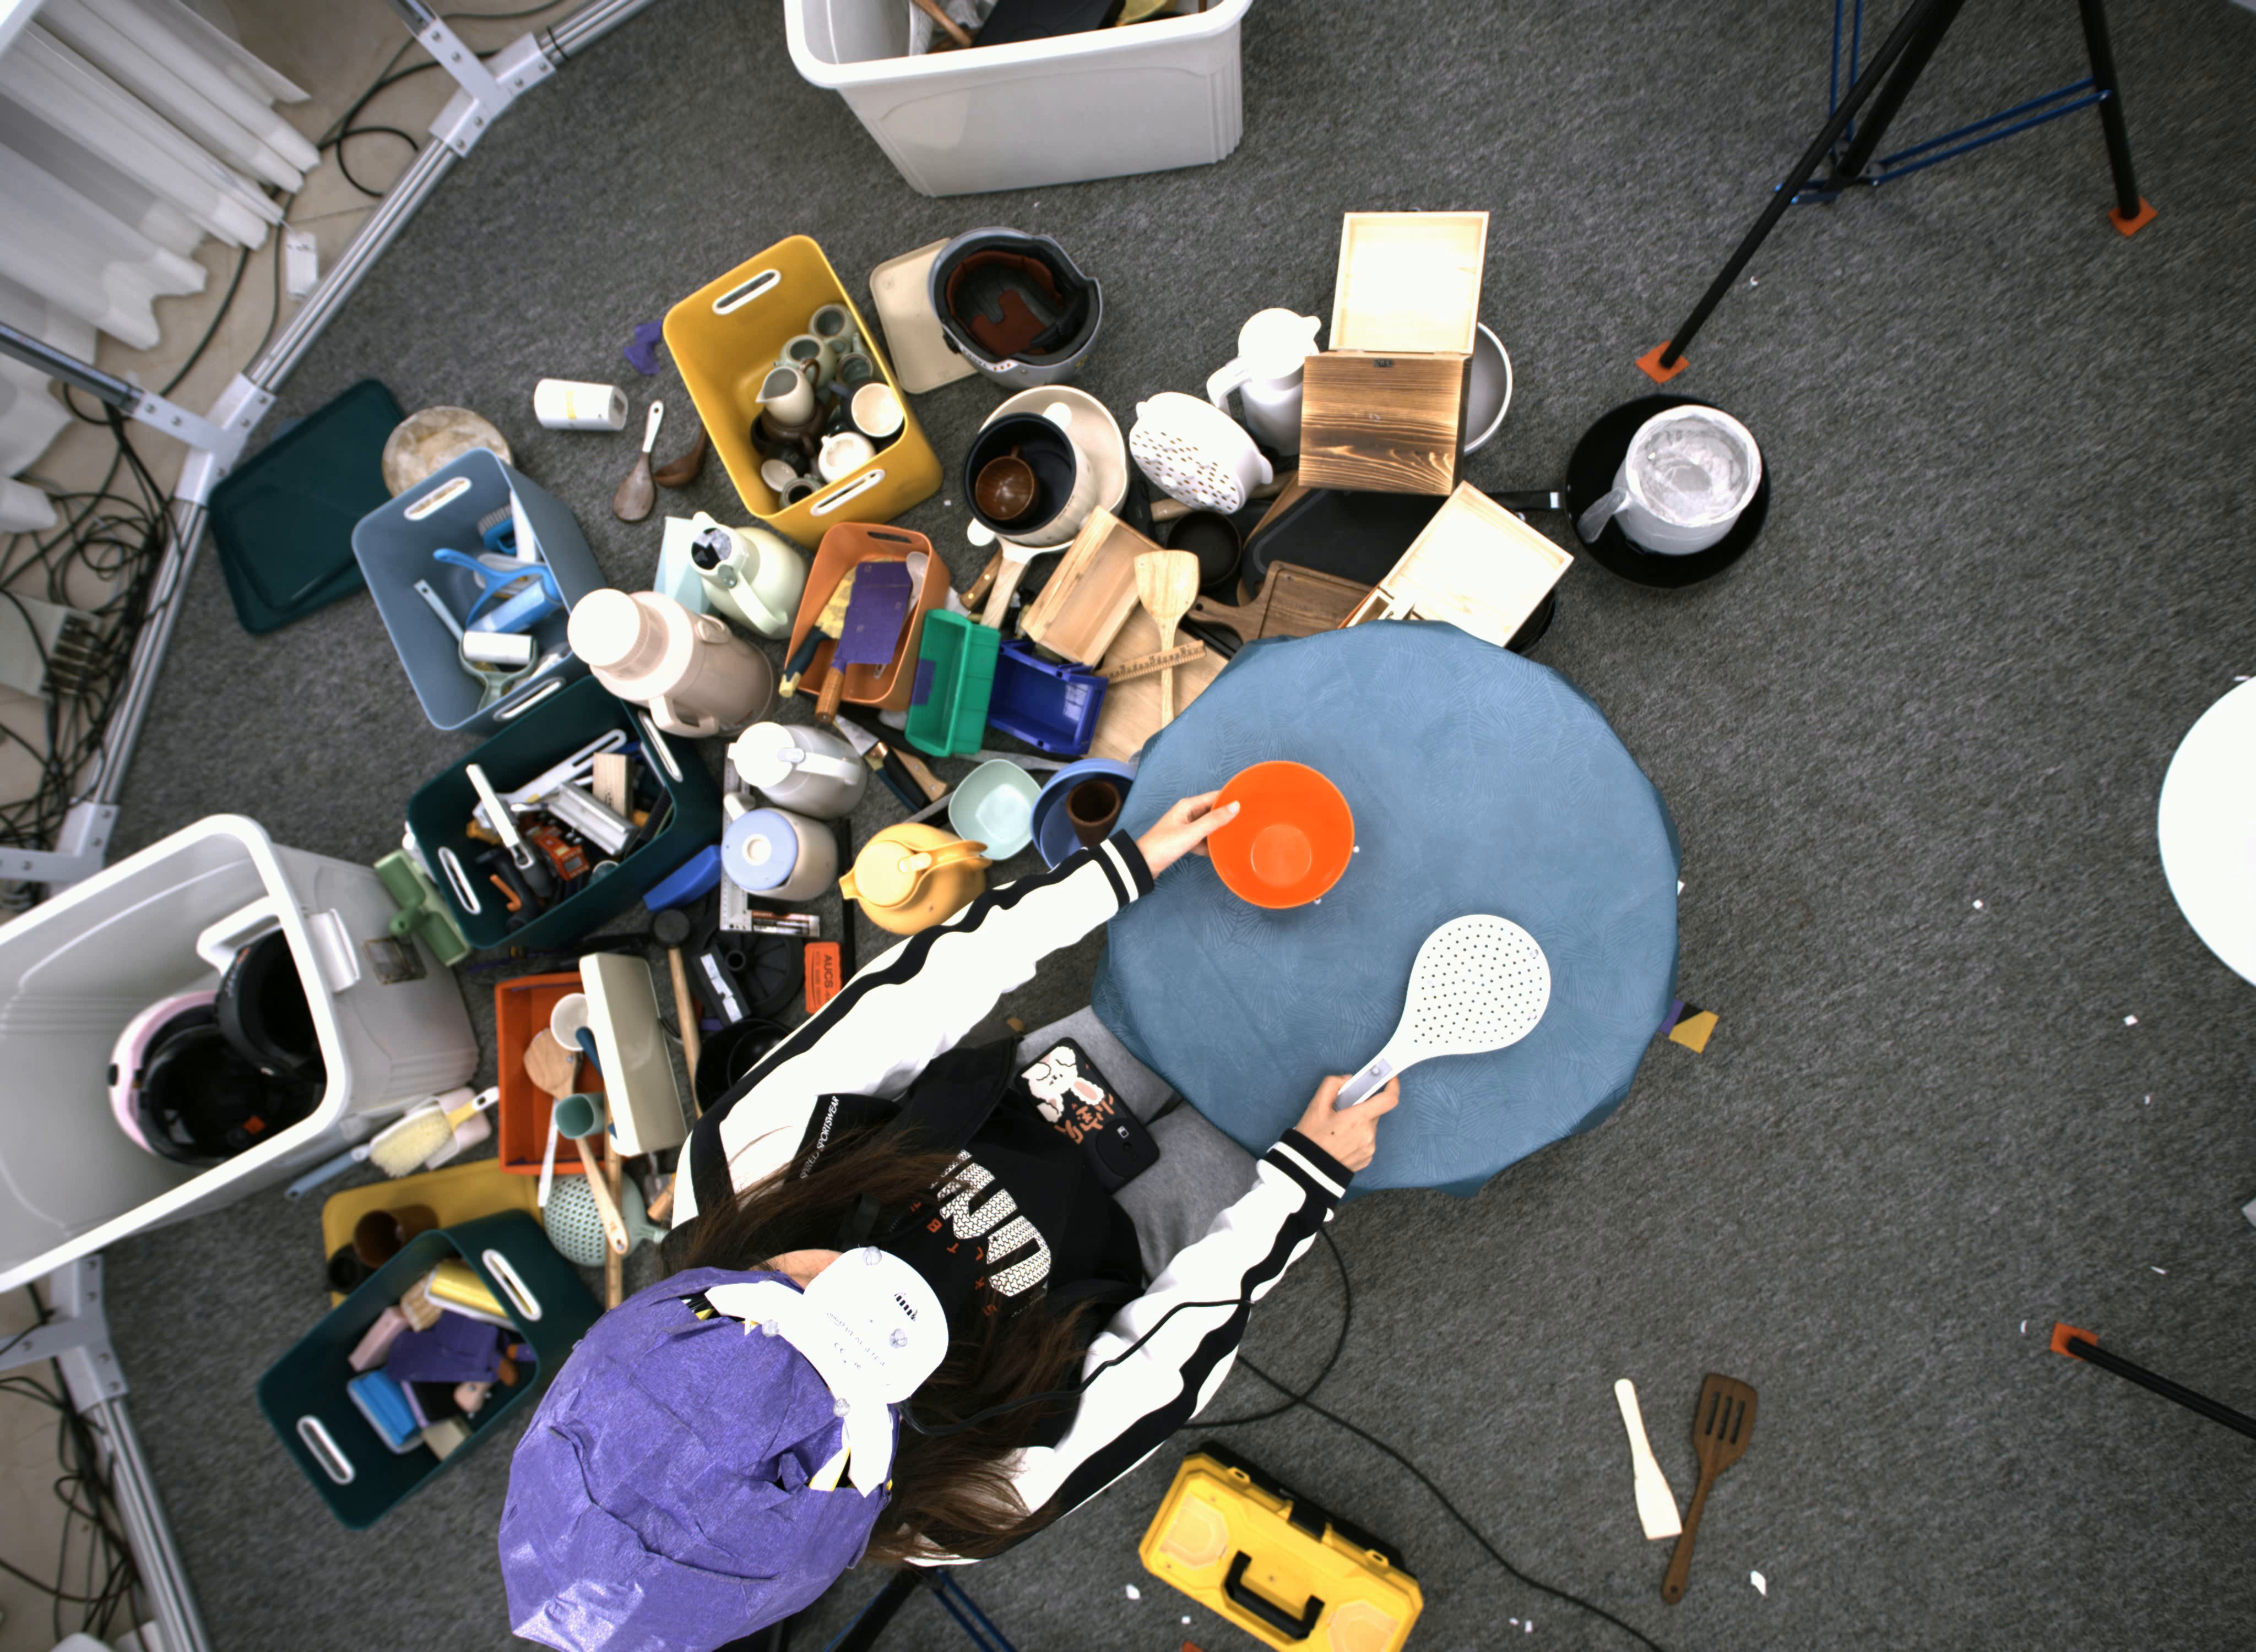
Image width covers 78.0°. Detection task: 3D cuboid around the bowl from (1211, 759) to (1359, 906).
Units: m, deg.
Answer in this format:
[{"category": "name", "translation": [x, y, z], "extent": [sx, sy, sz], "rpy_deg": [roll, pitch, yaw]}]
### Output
[{"category": "bowl", "translation": [0.159, 0.010, 1.427], "extent": [0.148, 0.105, 0.147], "rpy_deg": [0, 88, 3]}]

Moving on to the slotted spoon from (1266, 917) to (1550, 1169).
[{"category": "slotted spoon", "translation": [0.281, 0.231, 1.421], "extent": [0.351, 0.046, 0.135], "rpy_deg": [-41, 72, 4]}]
